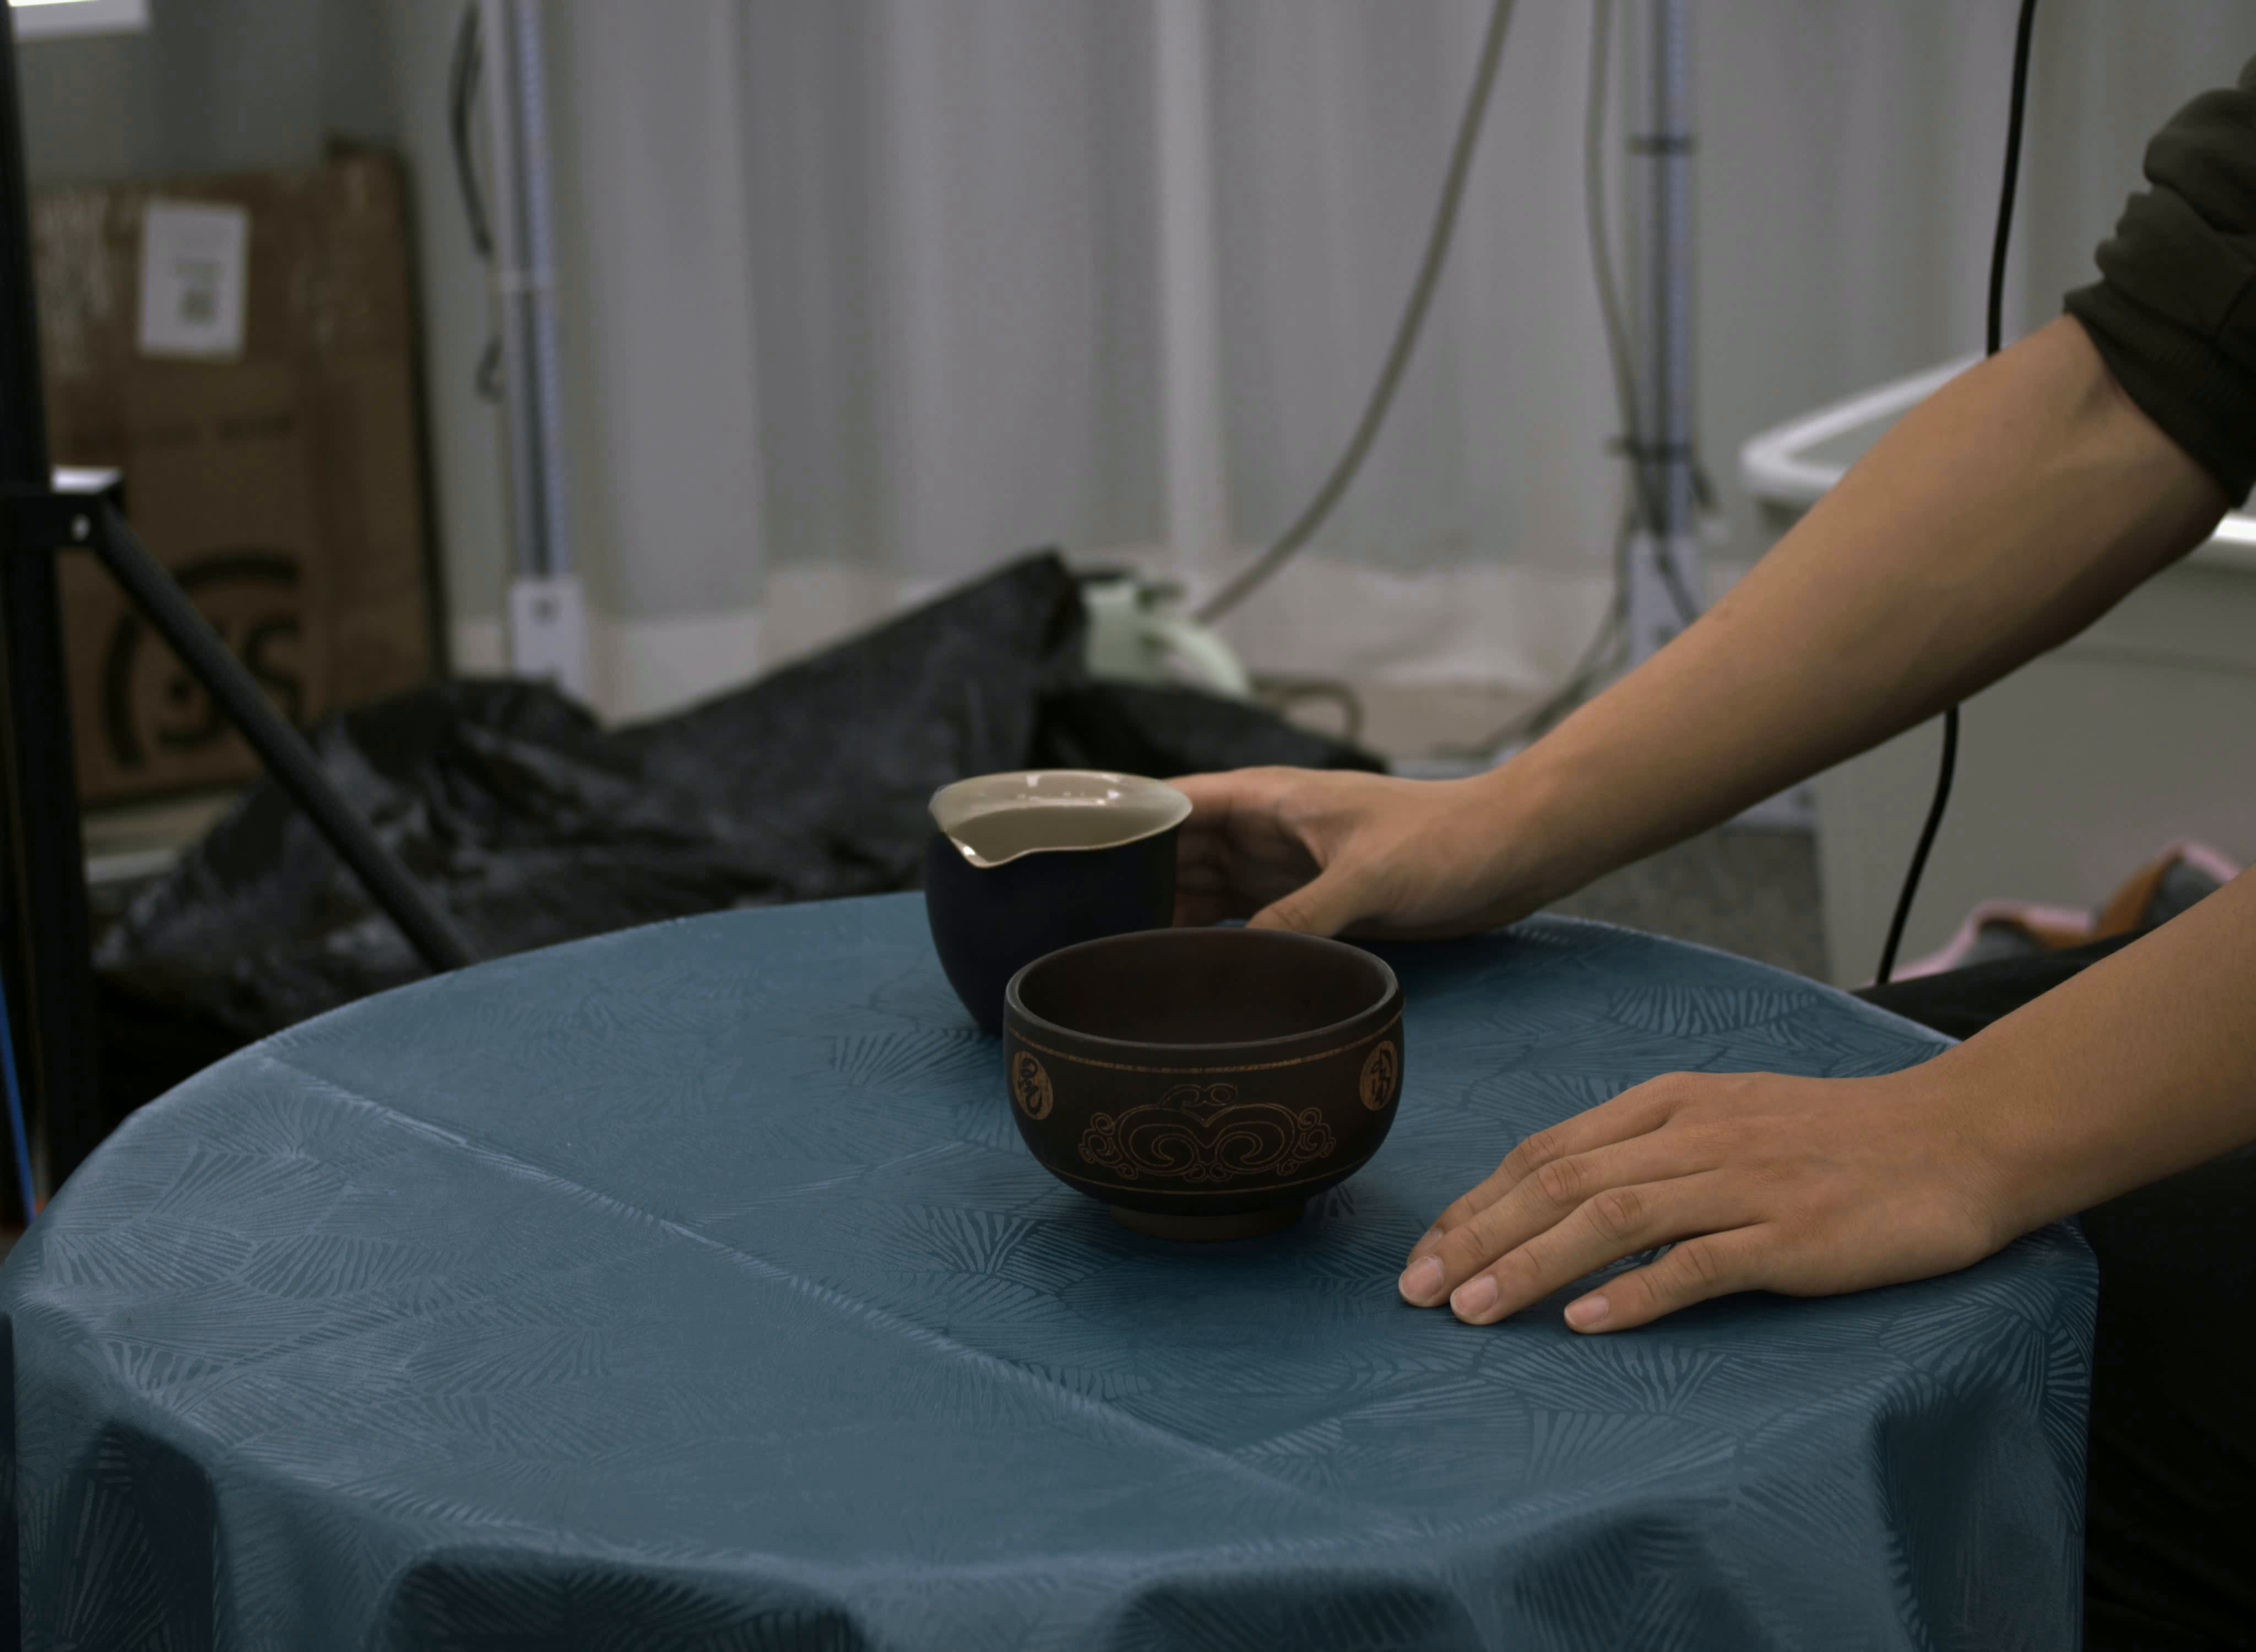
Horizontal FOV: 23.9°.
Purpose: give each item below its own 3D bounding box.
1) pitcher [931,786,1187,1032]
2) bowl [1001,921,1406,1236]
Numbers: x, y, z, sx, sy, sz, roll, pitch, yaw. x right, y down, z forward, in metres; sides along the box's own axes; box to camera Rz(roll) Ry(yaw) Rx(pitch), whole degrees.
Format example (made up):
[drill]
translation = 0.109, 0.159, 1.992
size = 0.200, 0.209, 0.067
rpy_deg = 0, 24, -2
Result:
[pitcher]
translation = -0.024, 0.028, 1.709
size = 0.085, 0.071, 0.094
rpy_deg = 8, 18, 28
[bowl]
translation = 0.023, 0.077, 1.536
size = 0.117, 0.070, 0.118
rpy_deg = -4, 15, 0
